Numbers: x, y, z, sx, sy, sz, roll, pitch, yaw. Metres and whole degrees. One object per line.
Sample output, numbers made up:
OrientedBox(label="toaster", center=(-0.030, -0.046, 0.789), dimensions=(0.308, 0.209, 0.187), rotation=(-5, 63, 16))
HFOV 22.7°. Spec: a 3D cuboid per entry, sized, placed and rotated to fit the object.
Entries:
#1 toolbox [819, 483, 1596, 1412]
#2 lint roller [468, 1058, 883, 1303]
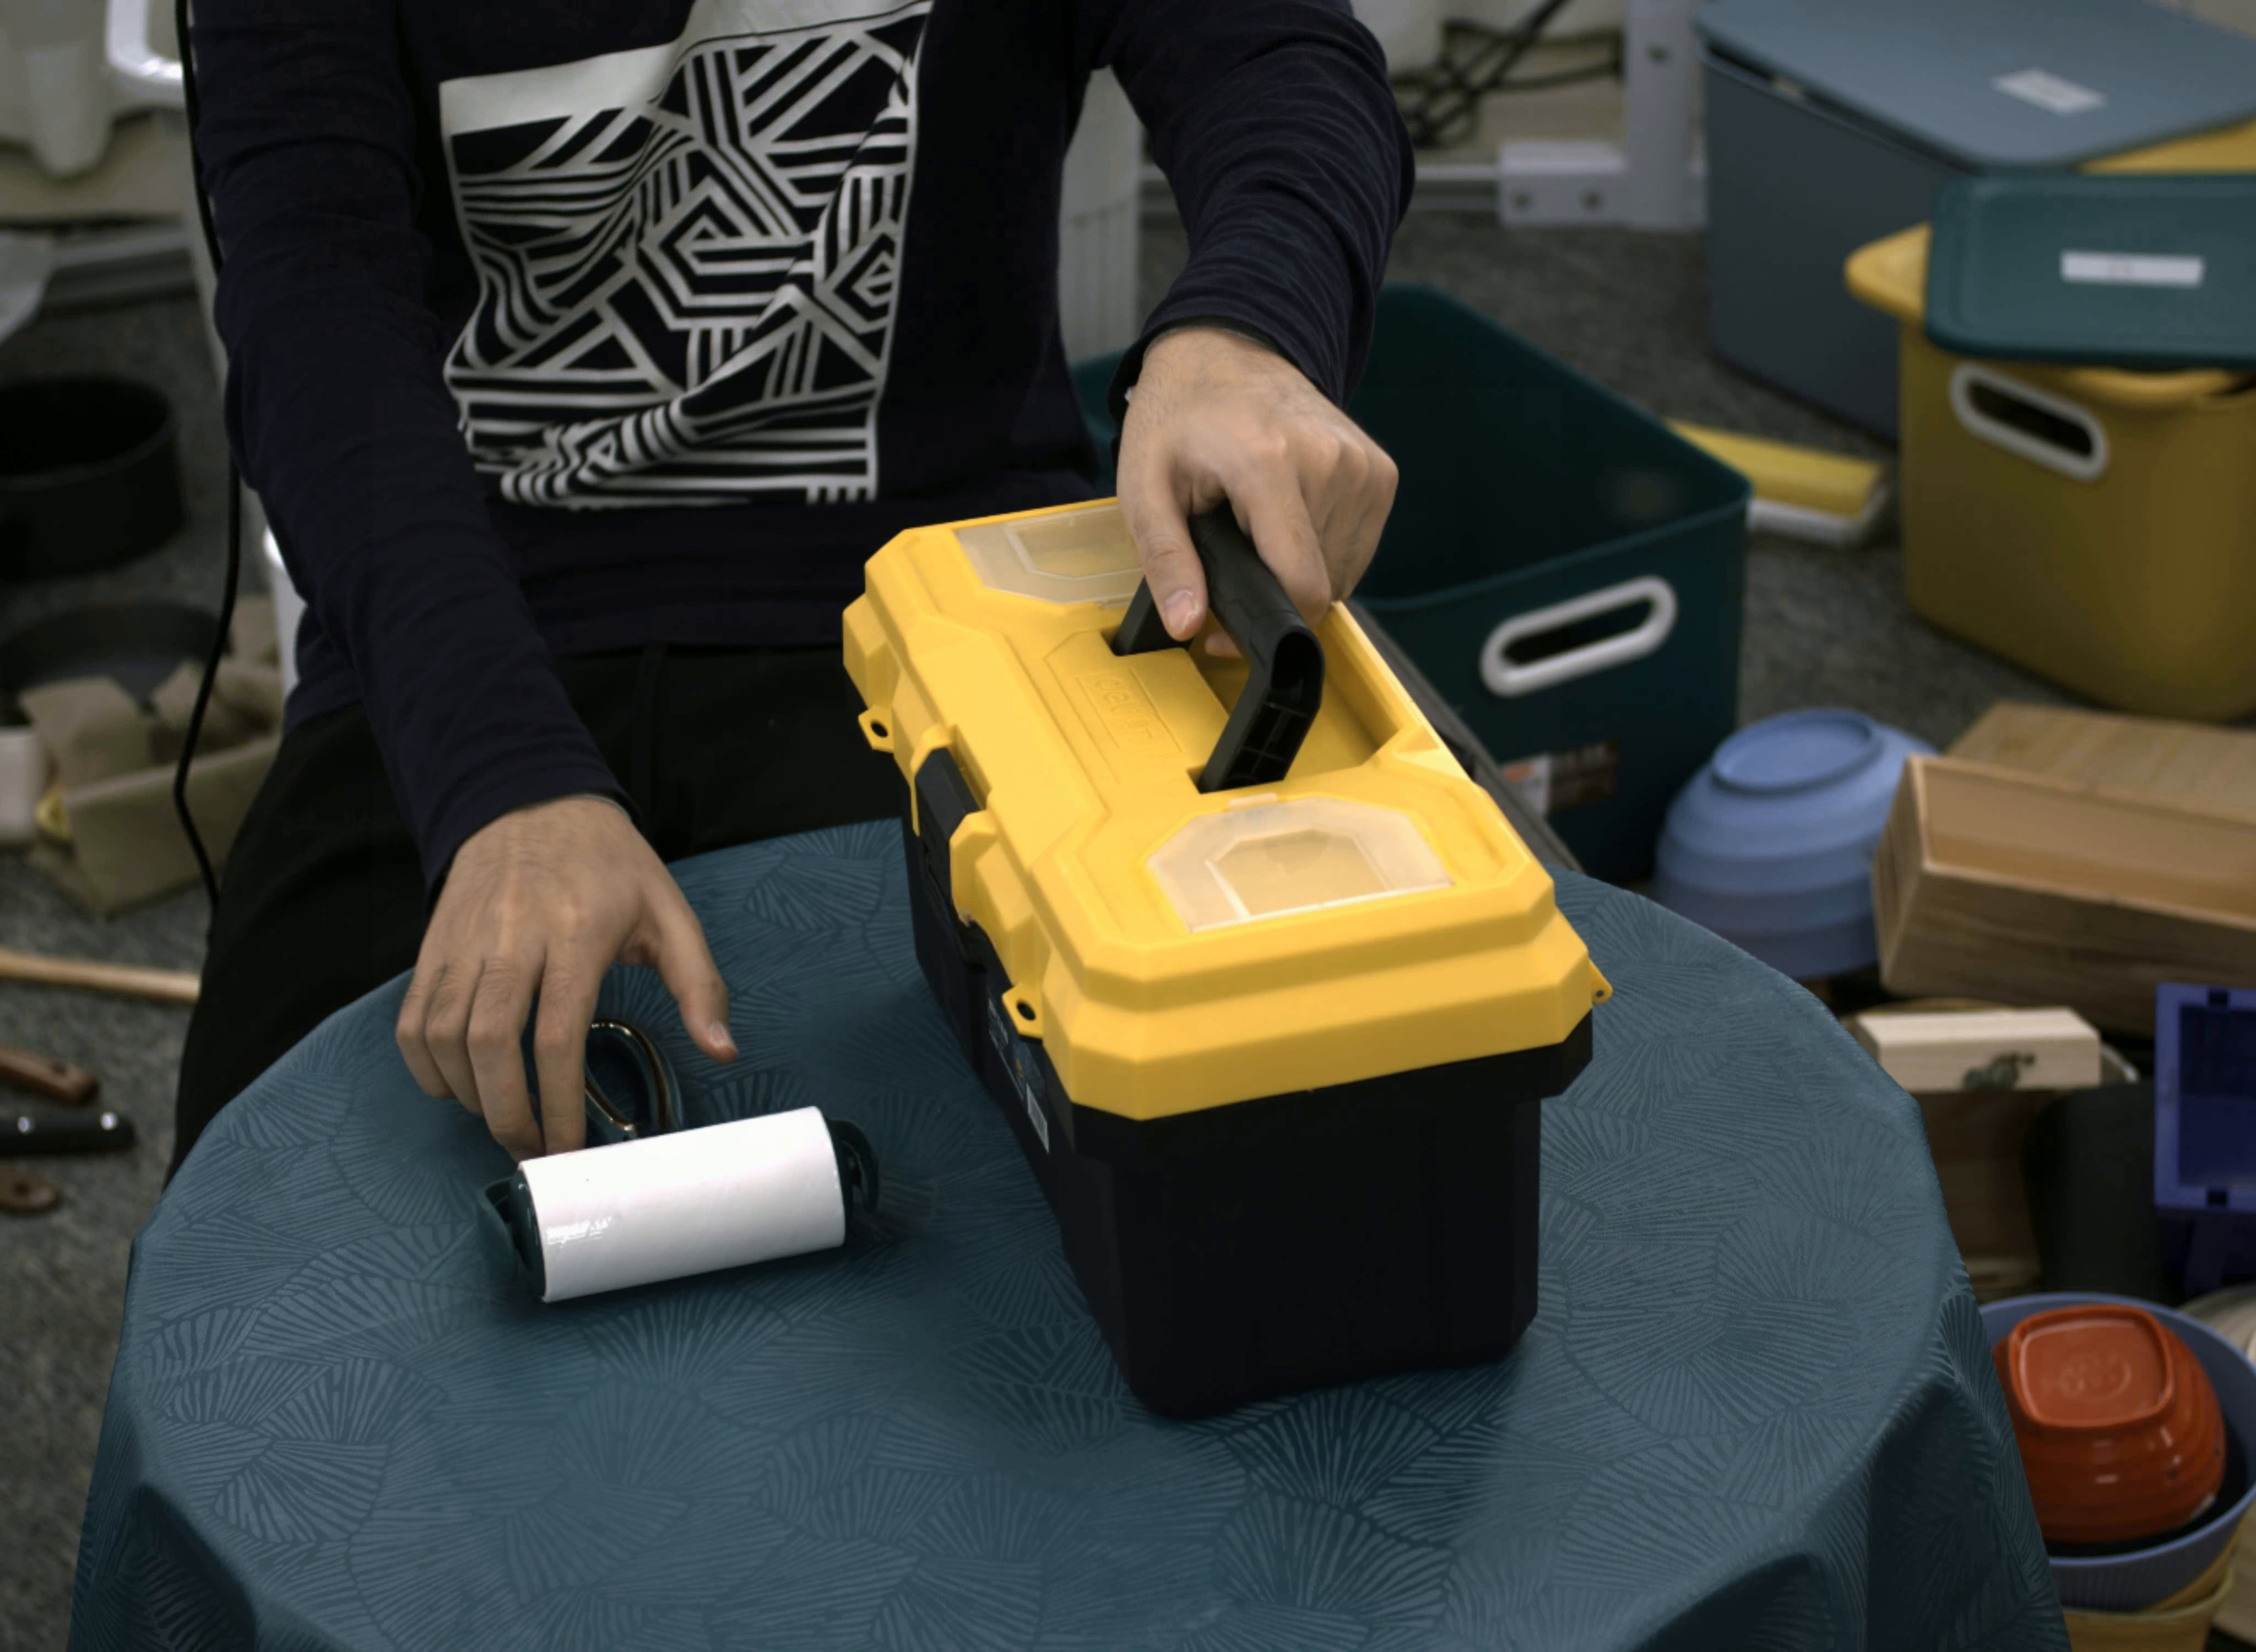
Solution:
OrientedBox(label="toolbox", center=(0.021, 0.033, 1.846), dimensions=(0.181, 0.171, 0.355), rotation=(-9, 27, -13))
OrientedBox(label="lint roller", center=(-0.165, 0.098, 1.881), dimensions=(0.134, 0.048, 0.181), rotation=(-11, 24, -13))
